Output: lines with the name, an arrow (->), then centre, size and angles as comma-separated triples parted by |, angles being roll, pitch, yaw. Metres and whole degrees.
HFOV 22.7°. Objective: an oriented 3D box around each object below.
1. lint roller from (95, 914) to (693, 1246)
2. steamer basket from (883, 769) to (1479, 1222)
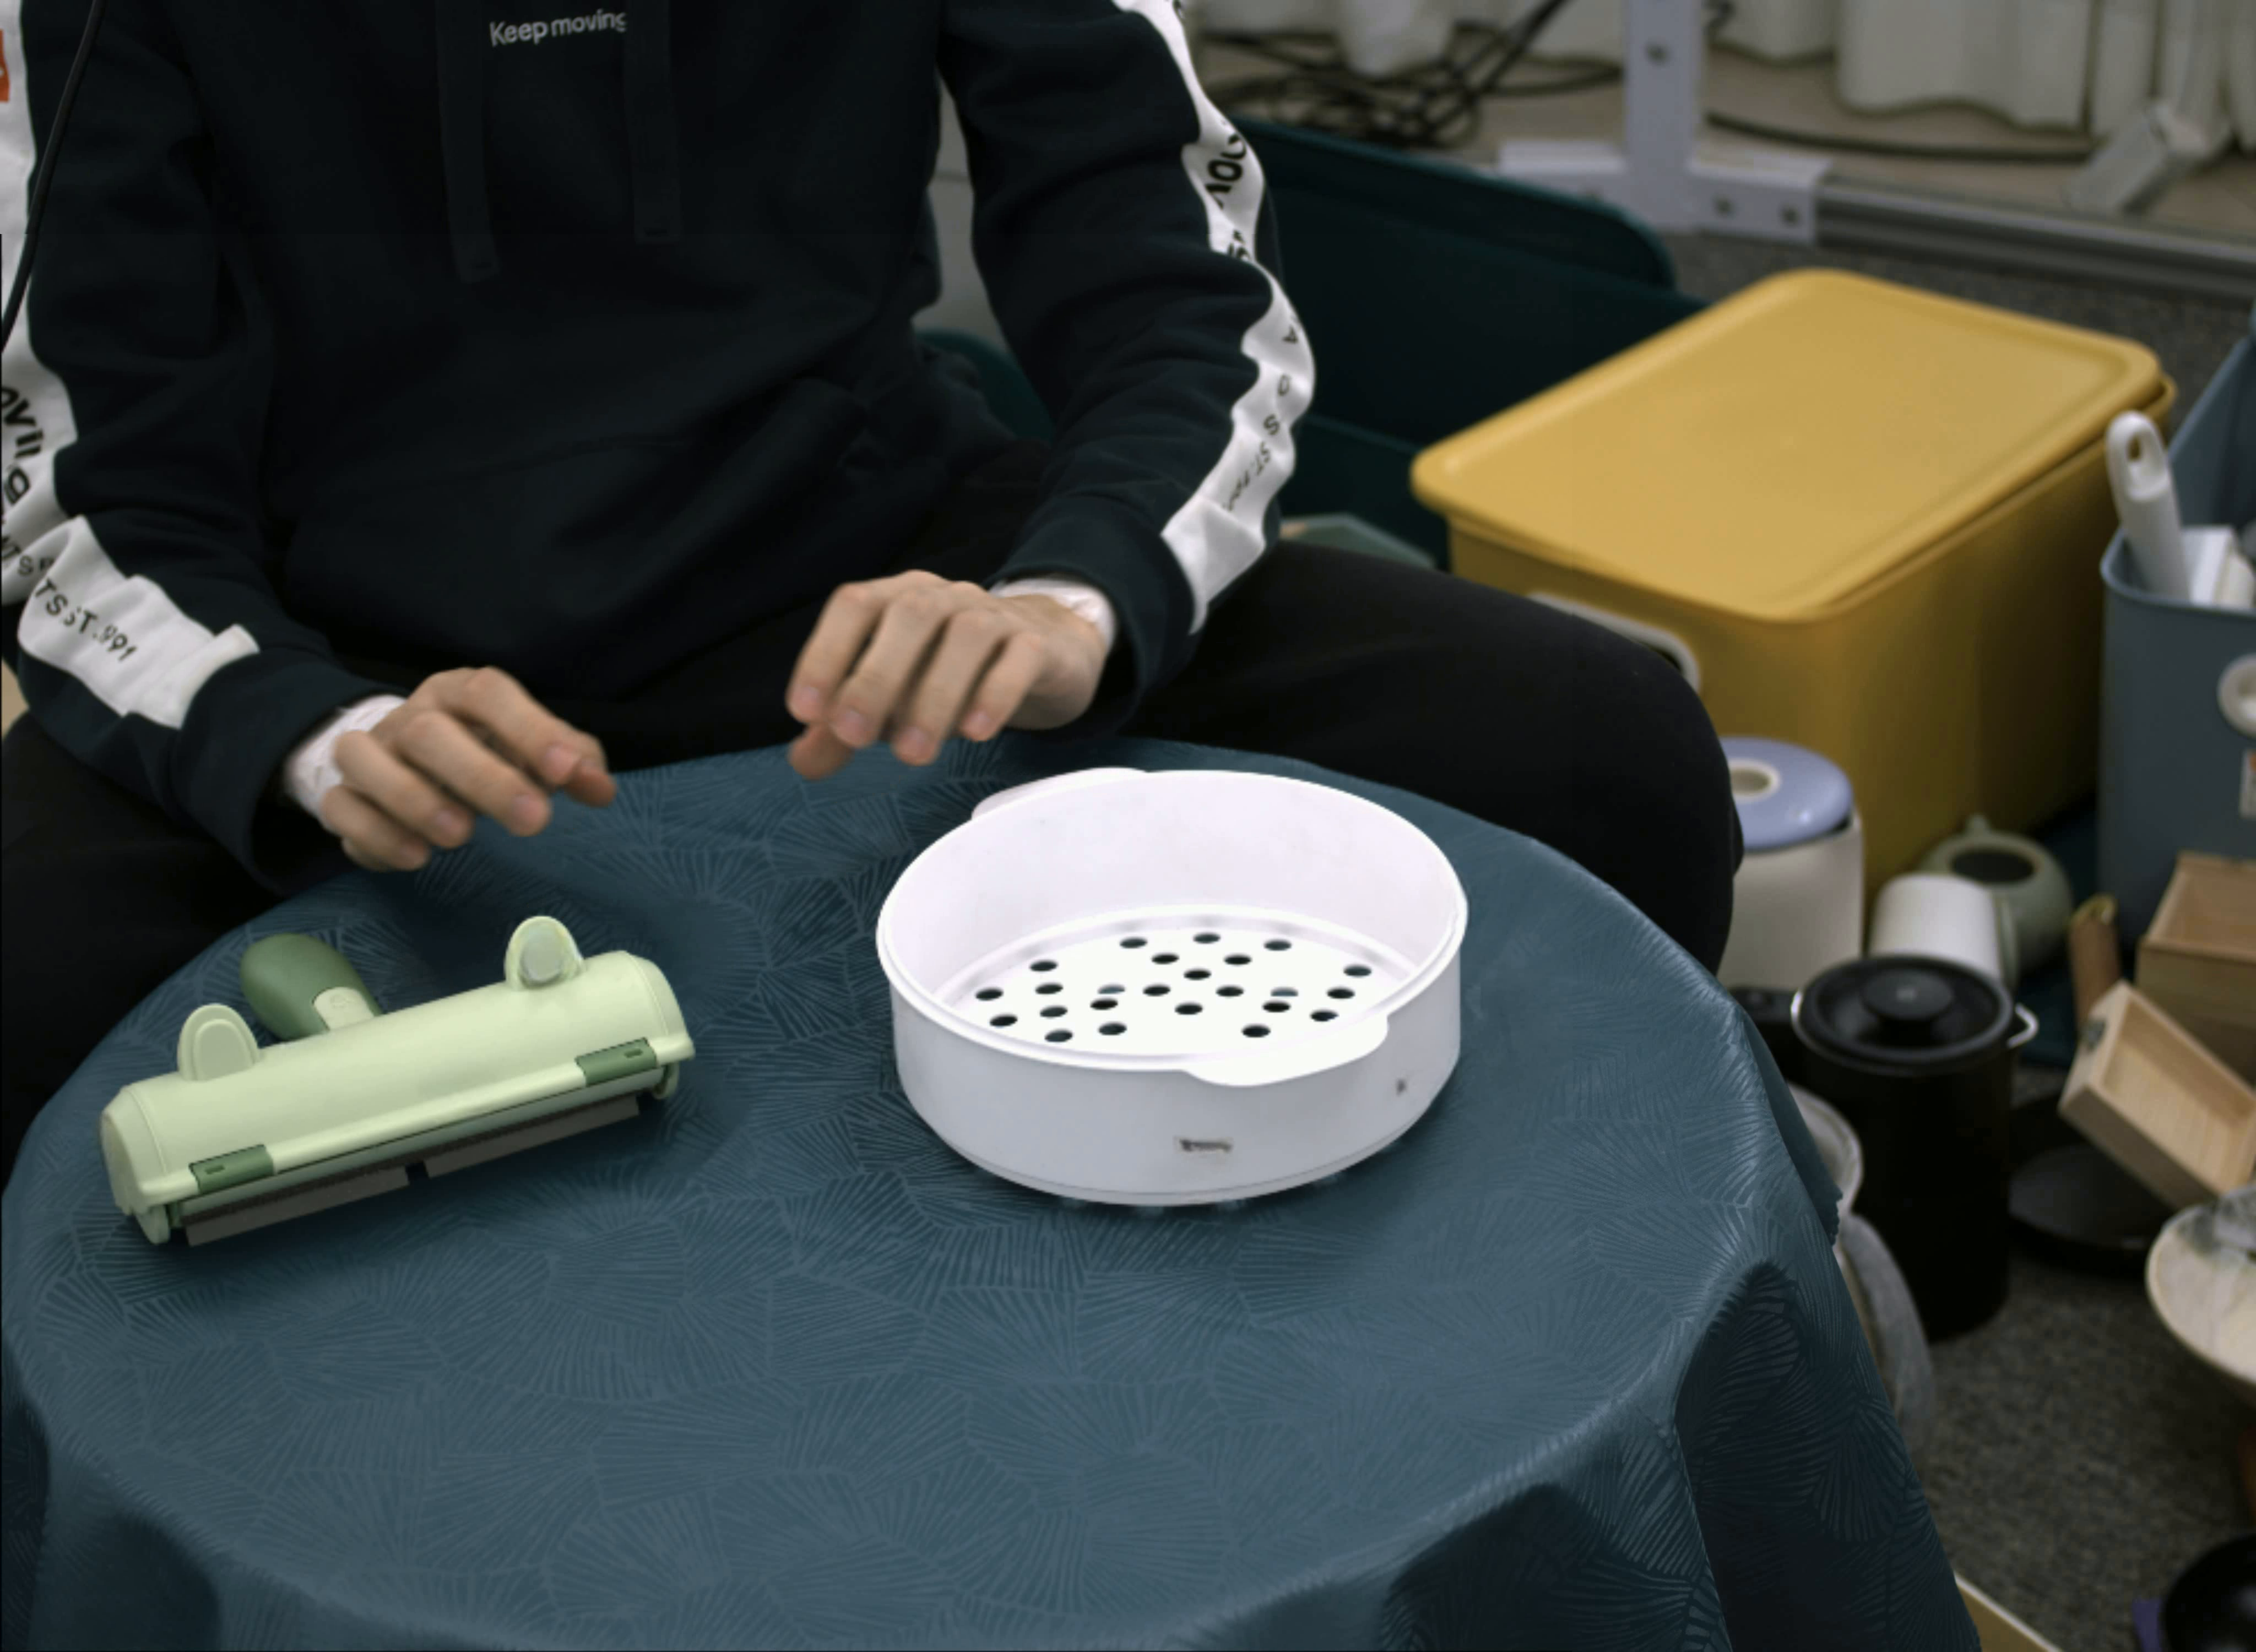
lint roller -> -0.270, 0.059, 1.923 | 0.199, 0.081, 0.185 | -15, 34, -22
steamer basket -> 0.019, 0.058, 1.906 | 0.202, 0.068, 0.232 | -14, 31, -20
